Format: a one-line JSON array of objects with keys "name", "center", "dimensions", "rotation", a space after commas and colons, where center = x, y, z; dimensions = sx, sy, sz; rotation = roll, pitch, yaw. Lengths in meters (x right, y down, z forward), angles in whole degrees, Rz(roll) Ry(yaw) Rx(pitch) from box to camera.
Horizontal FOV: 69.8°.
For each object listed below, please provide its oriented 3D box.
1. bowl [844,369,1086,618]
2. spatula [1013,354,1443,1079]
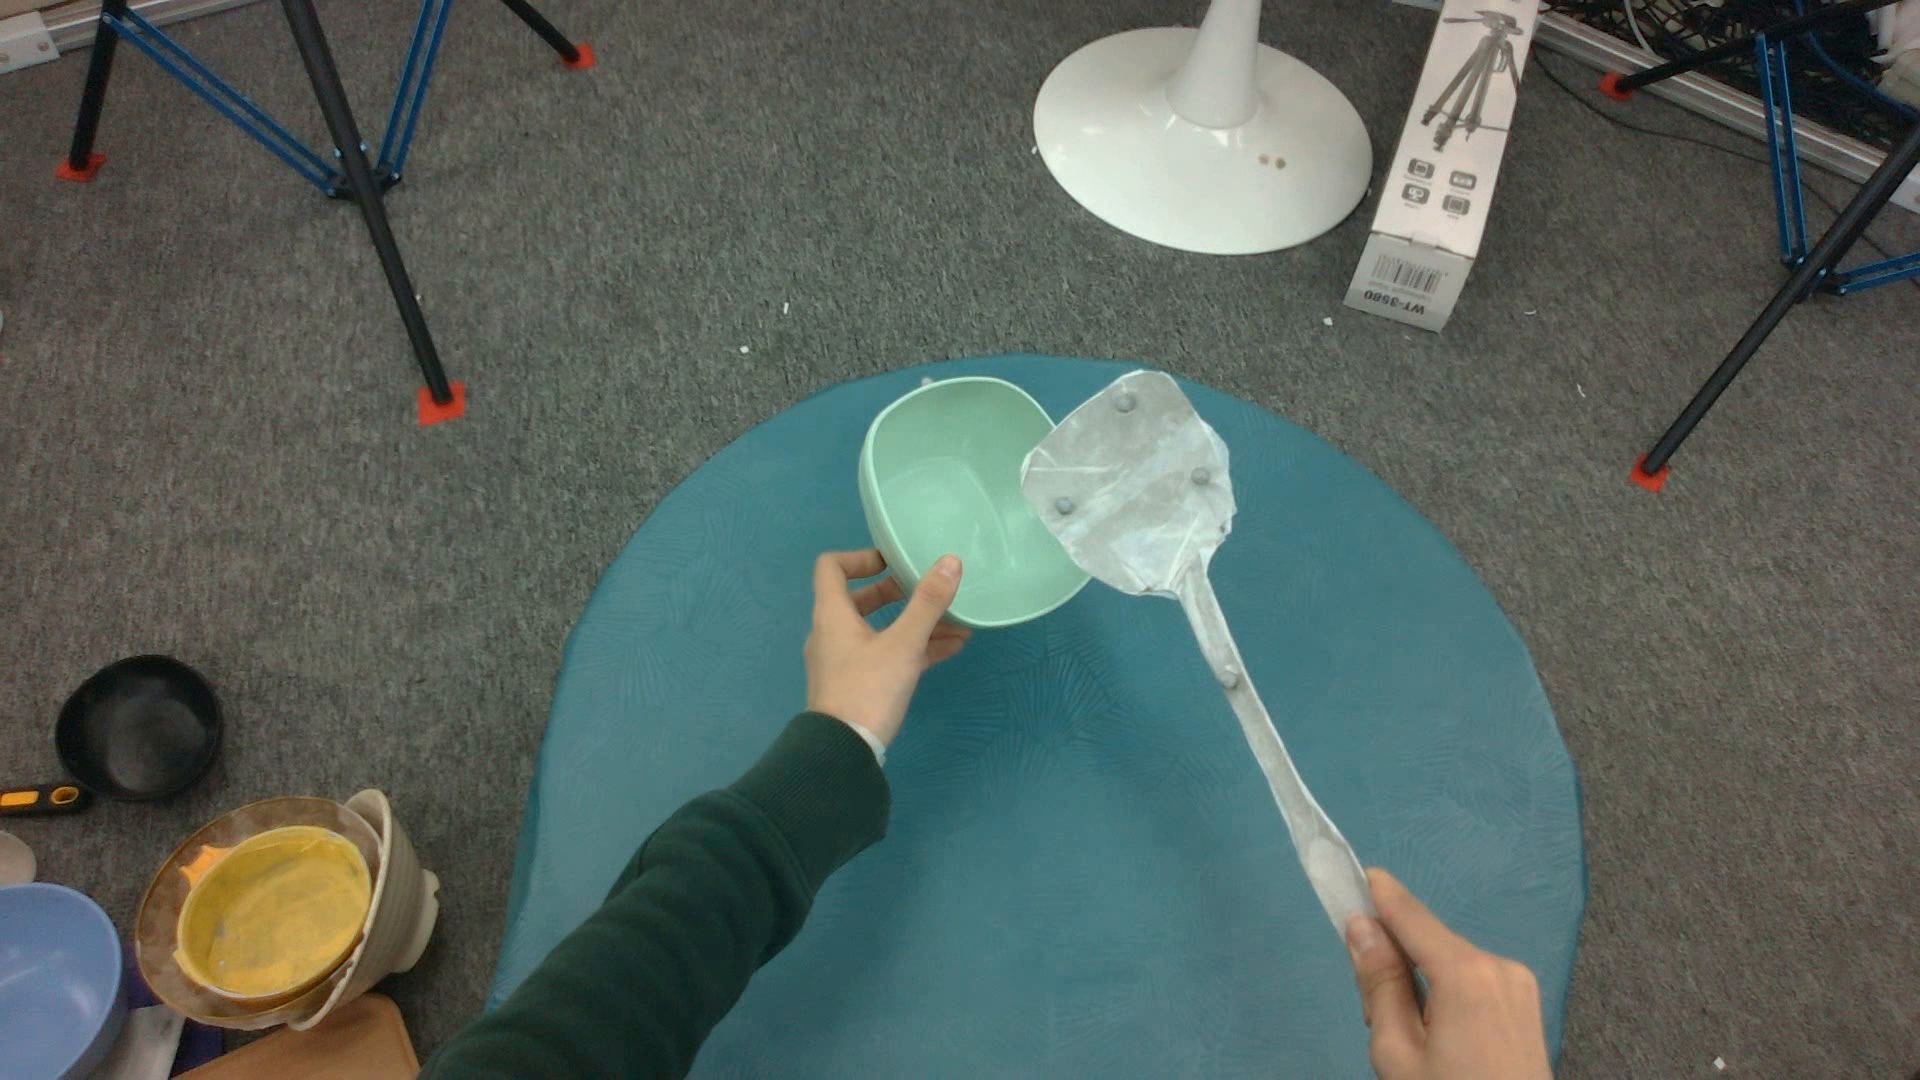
[{"name": "bowl", "center": [-0.006, -0.018, 0.754], "dimensions": [0.151, 0.058, 0.152], "rotation": [16, 59, -28]}, {"name": "spatula", "center": [0.123, 0.075, 0.607], "dimensions": [0.098, 0.045, 0.366], "rotation": [-35, 55, 22]}]
